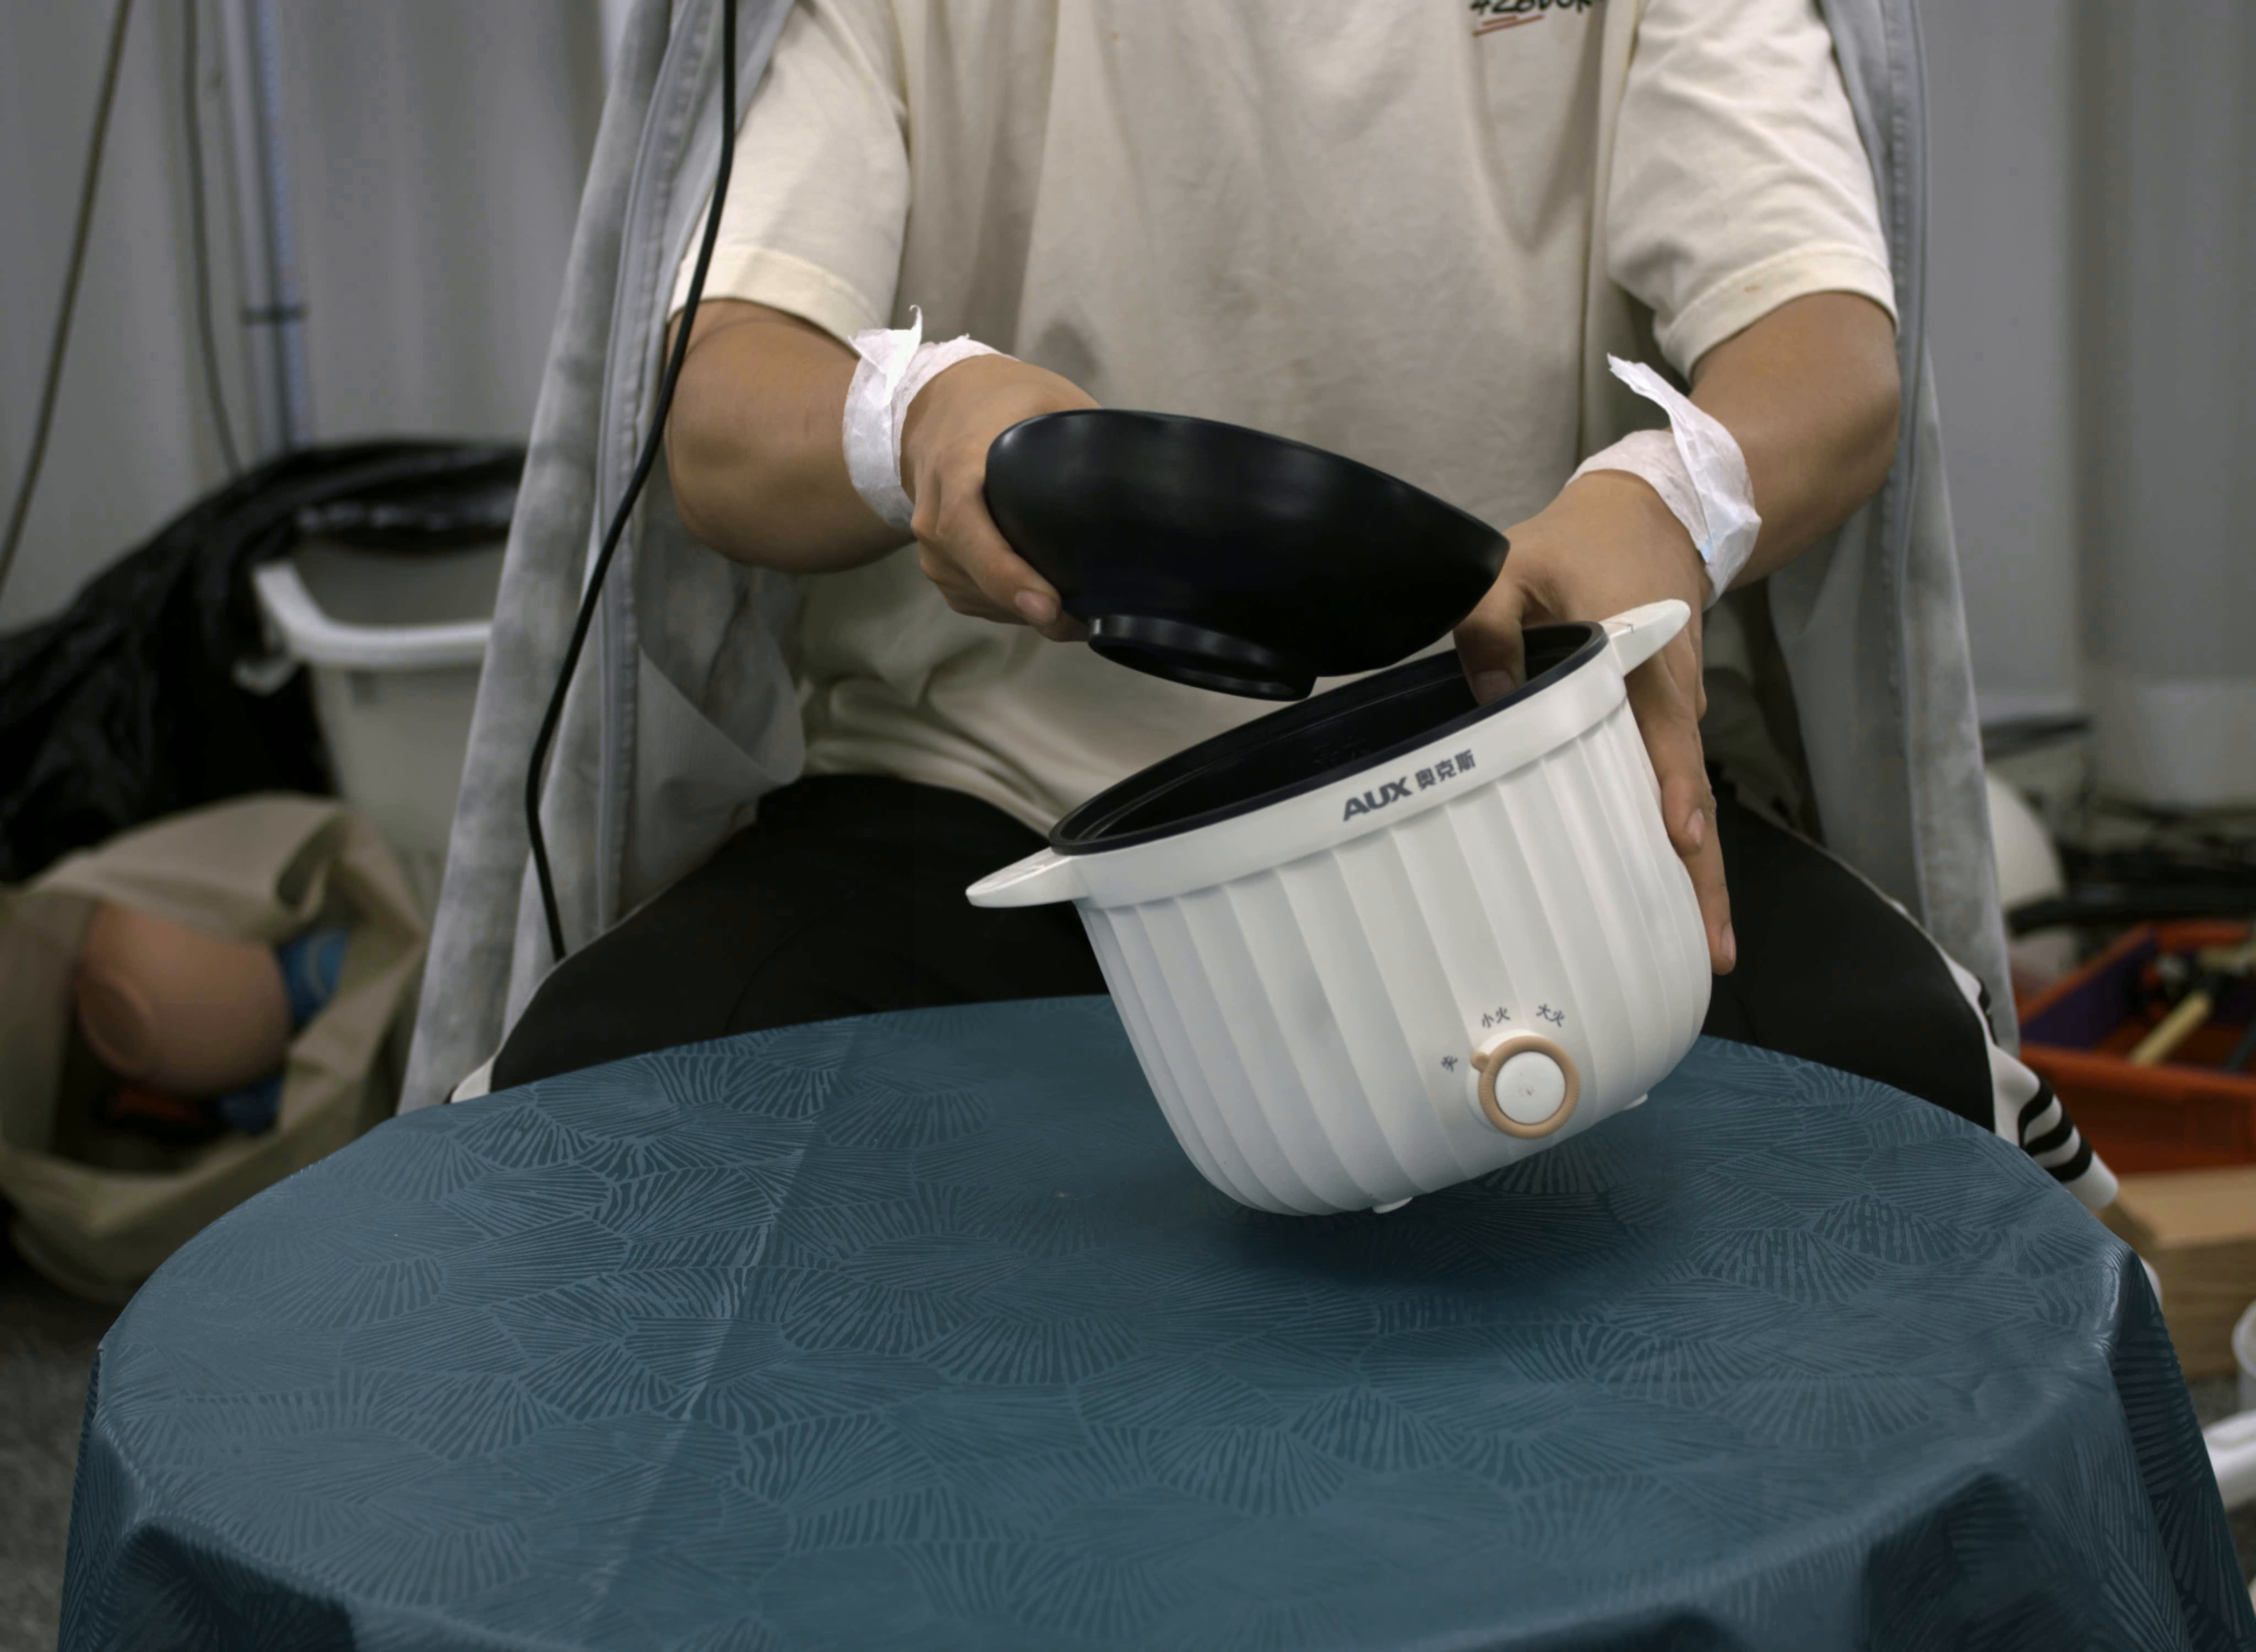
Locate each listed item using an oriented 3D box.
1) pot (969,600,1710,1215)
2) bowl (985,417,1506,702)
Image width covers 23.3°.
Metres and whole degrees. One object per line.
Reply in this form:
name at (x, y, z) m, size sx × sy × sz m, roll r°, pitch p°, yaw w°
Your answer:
pot at (0.086, 0.032, 1.667) m, size 0.240 × 0.143 × 0.191 m, roll -23°, pitch 4°, yaw -9°
bowl at (0.028, -0.076, 1.665) m, size 0.171 × 0.067 × 0.136 m, roll 9°, pitch -9°, yaw 28°
